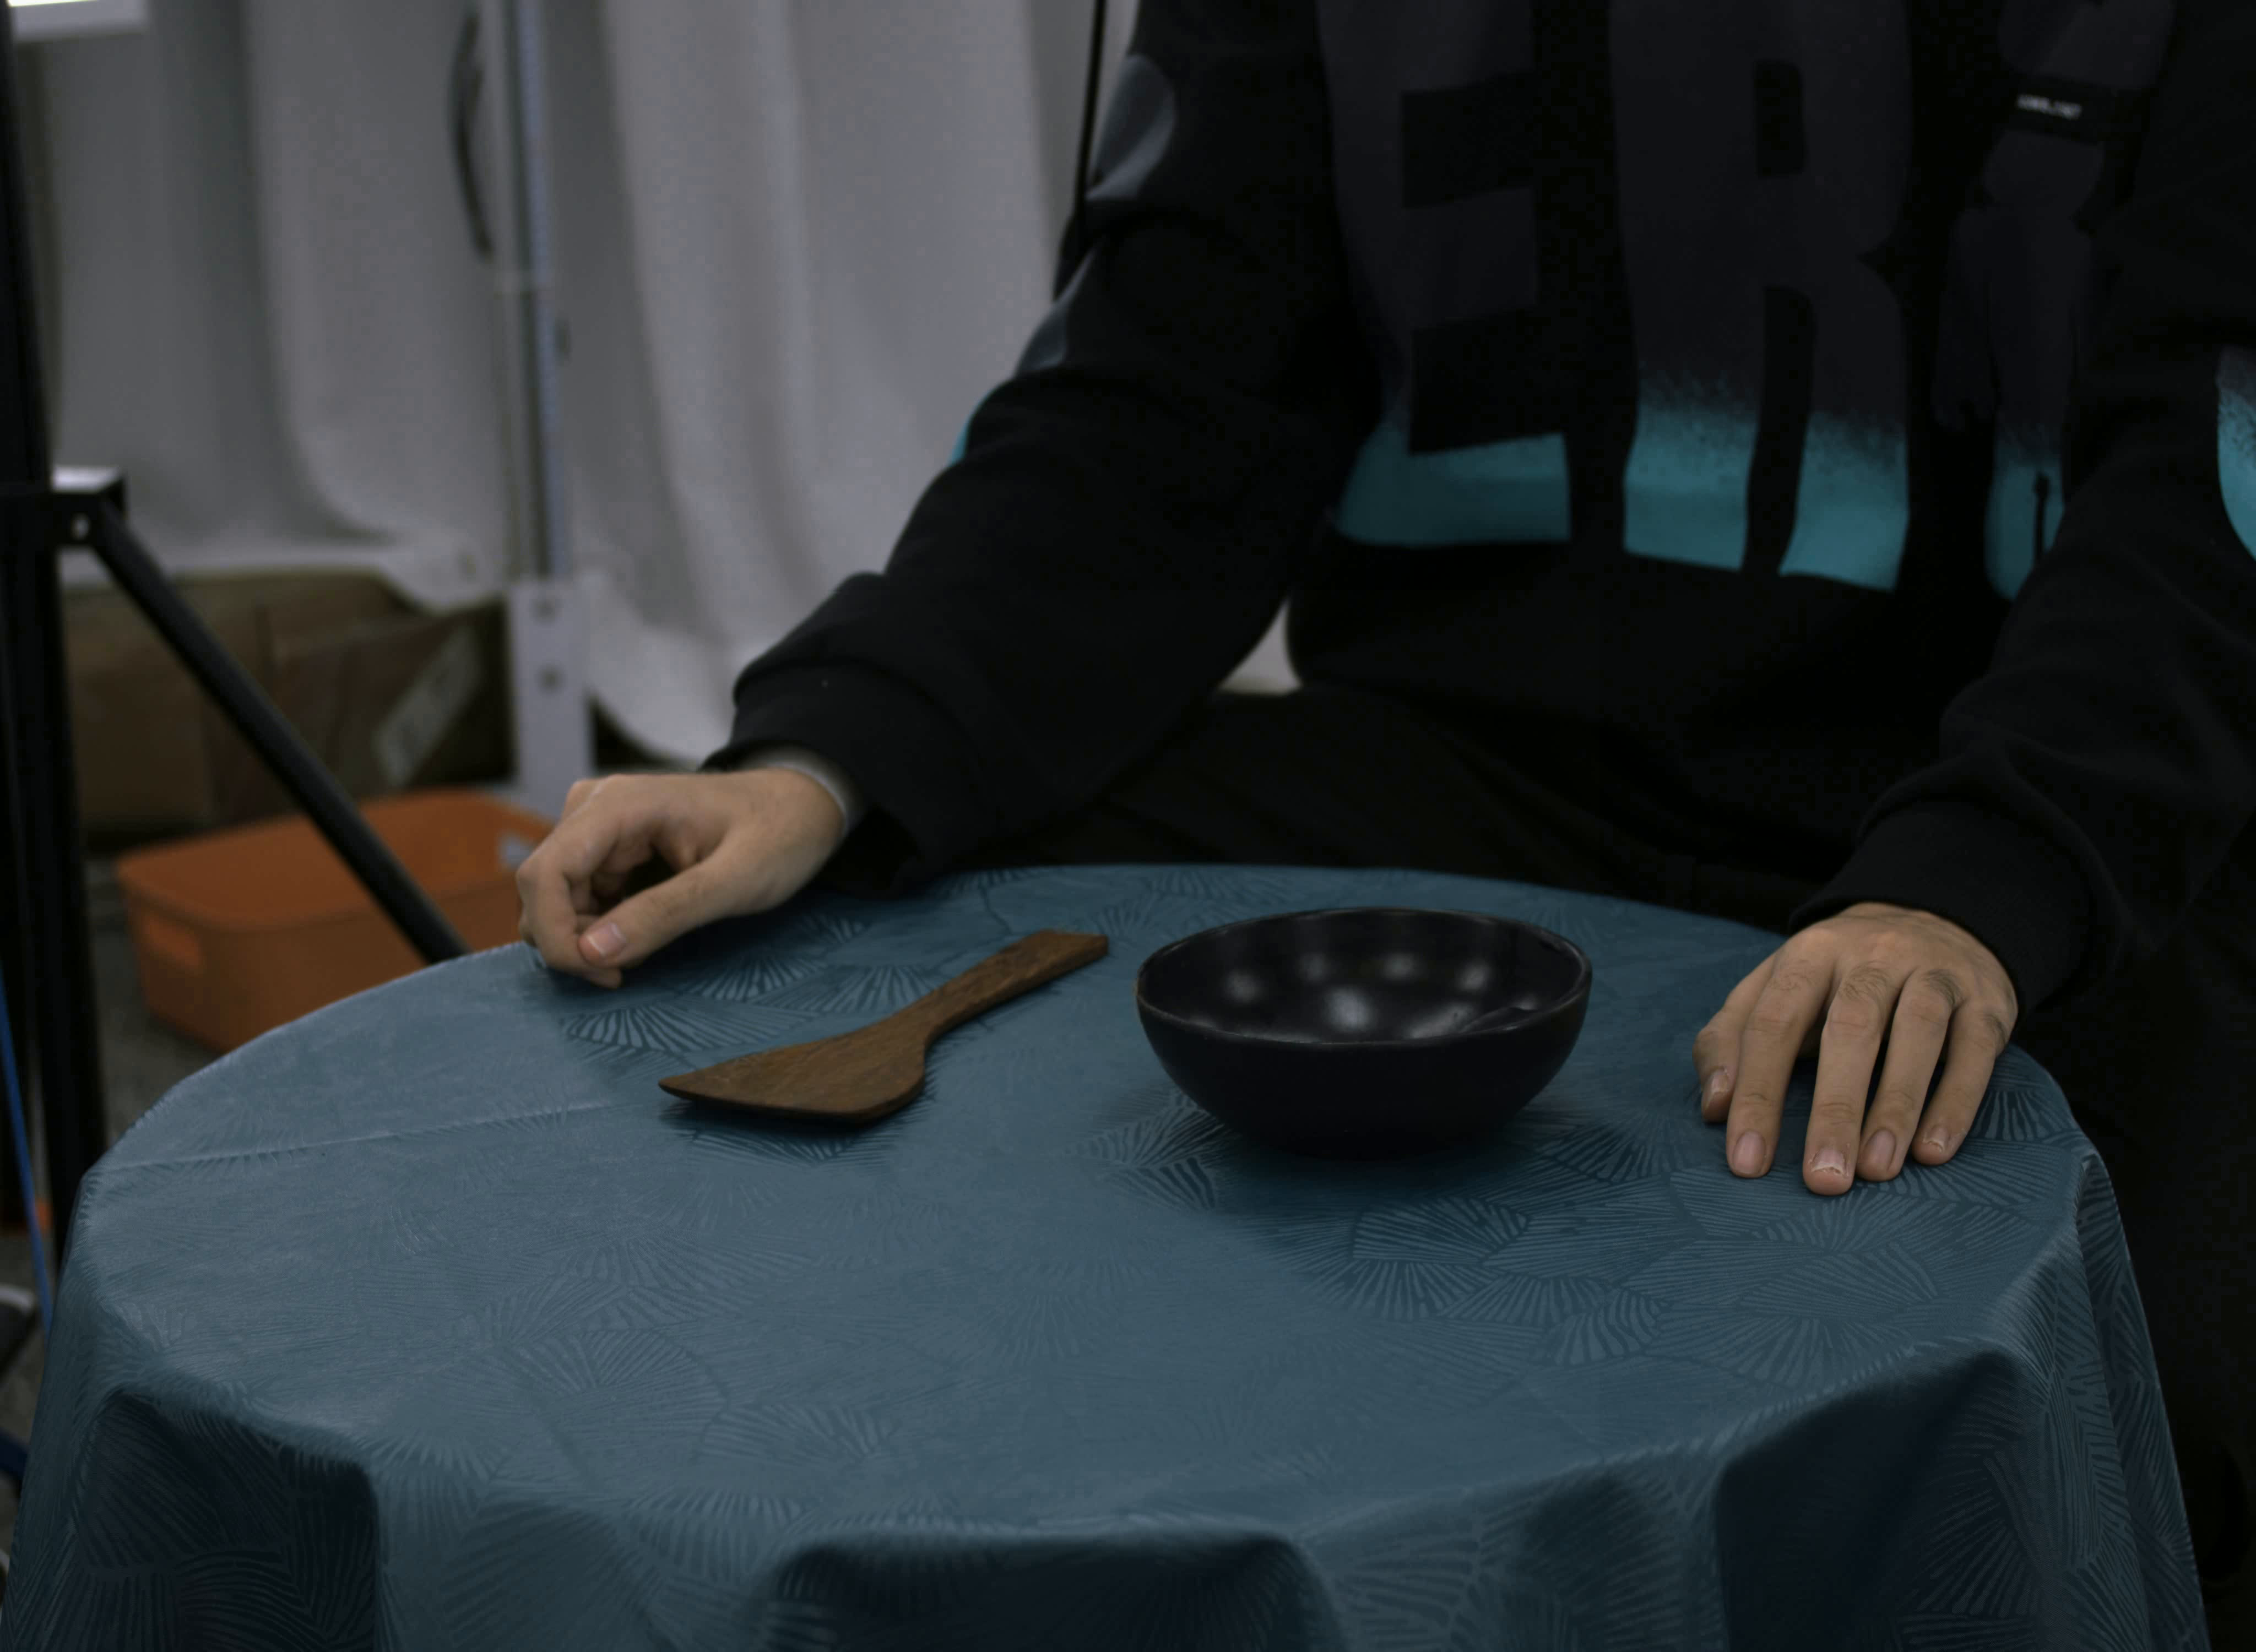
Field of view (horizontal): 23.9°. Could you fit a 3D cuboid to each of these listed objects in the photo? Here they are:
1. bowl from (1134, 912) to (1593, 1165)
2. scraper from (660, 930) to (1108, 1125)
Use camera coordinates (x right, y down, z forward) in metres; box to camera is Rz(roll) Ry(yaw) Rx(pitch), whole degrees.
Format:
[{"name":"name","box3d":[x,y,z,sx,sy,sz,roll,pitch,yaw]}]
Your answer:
[{"name":"bowl","box3d":[0.073,0.068,1.599,0.139,0.050,0.140,-5,14,0]},{"name":"scraper","box3d":[-0.066,0.063,1.713,0.077,0.011,0.207,8,18,29]}]
